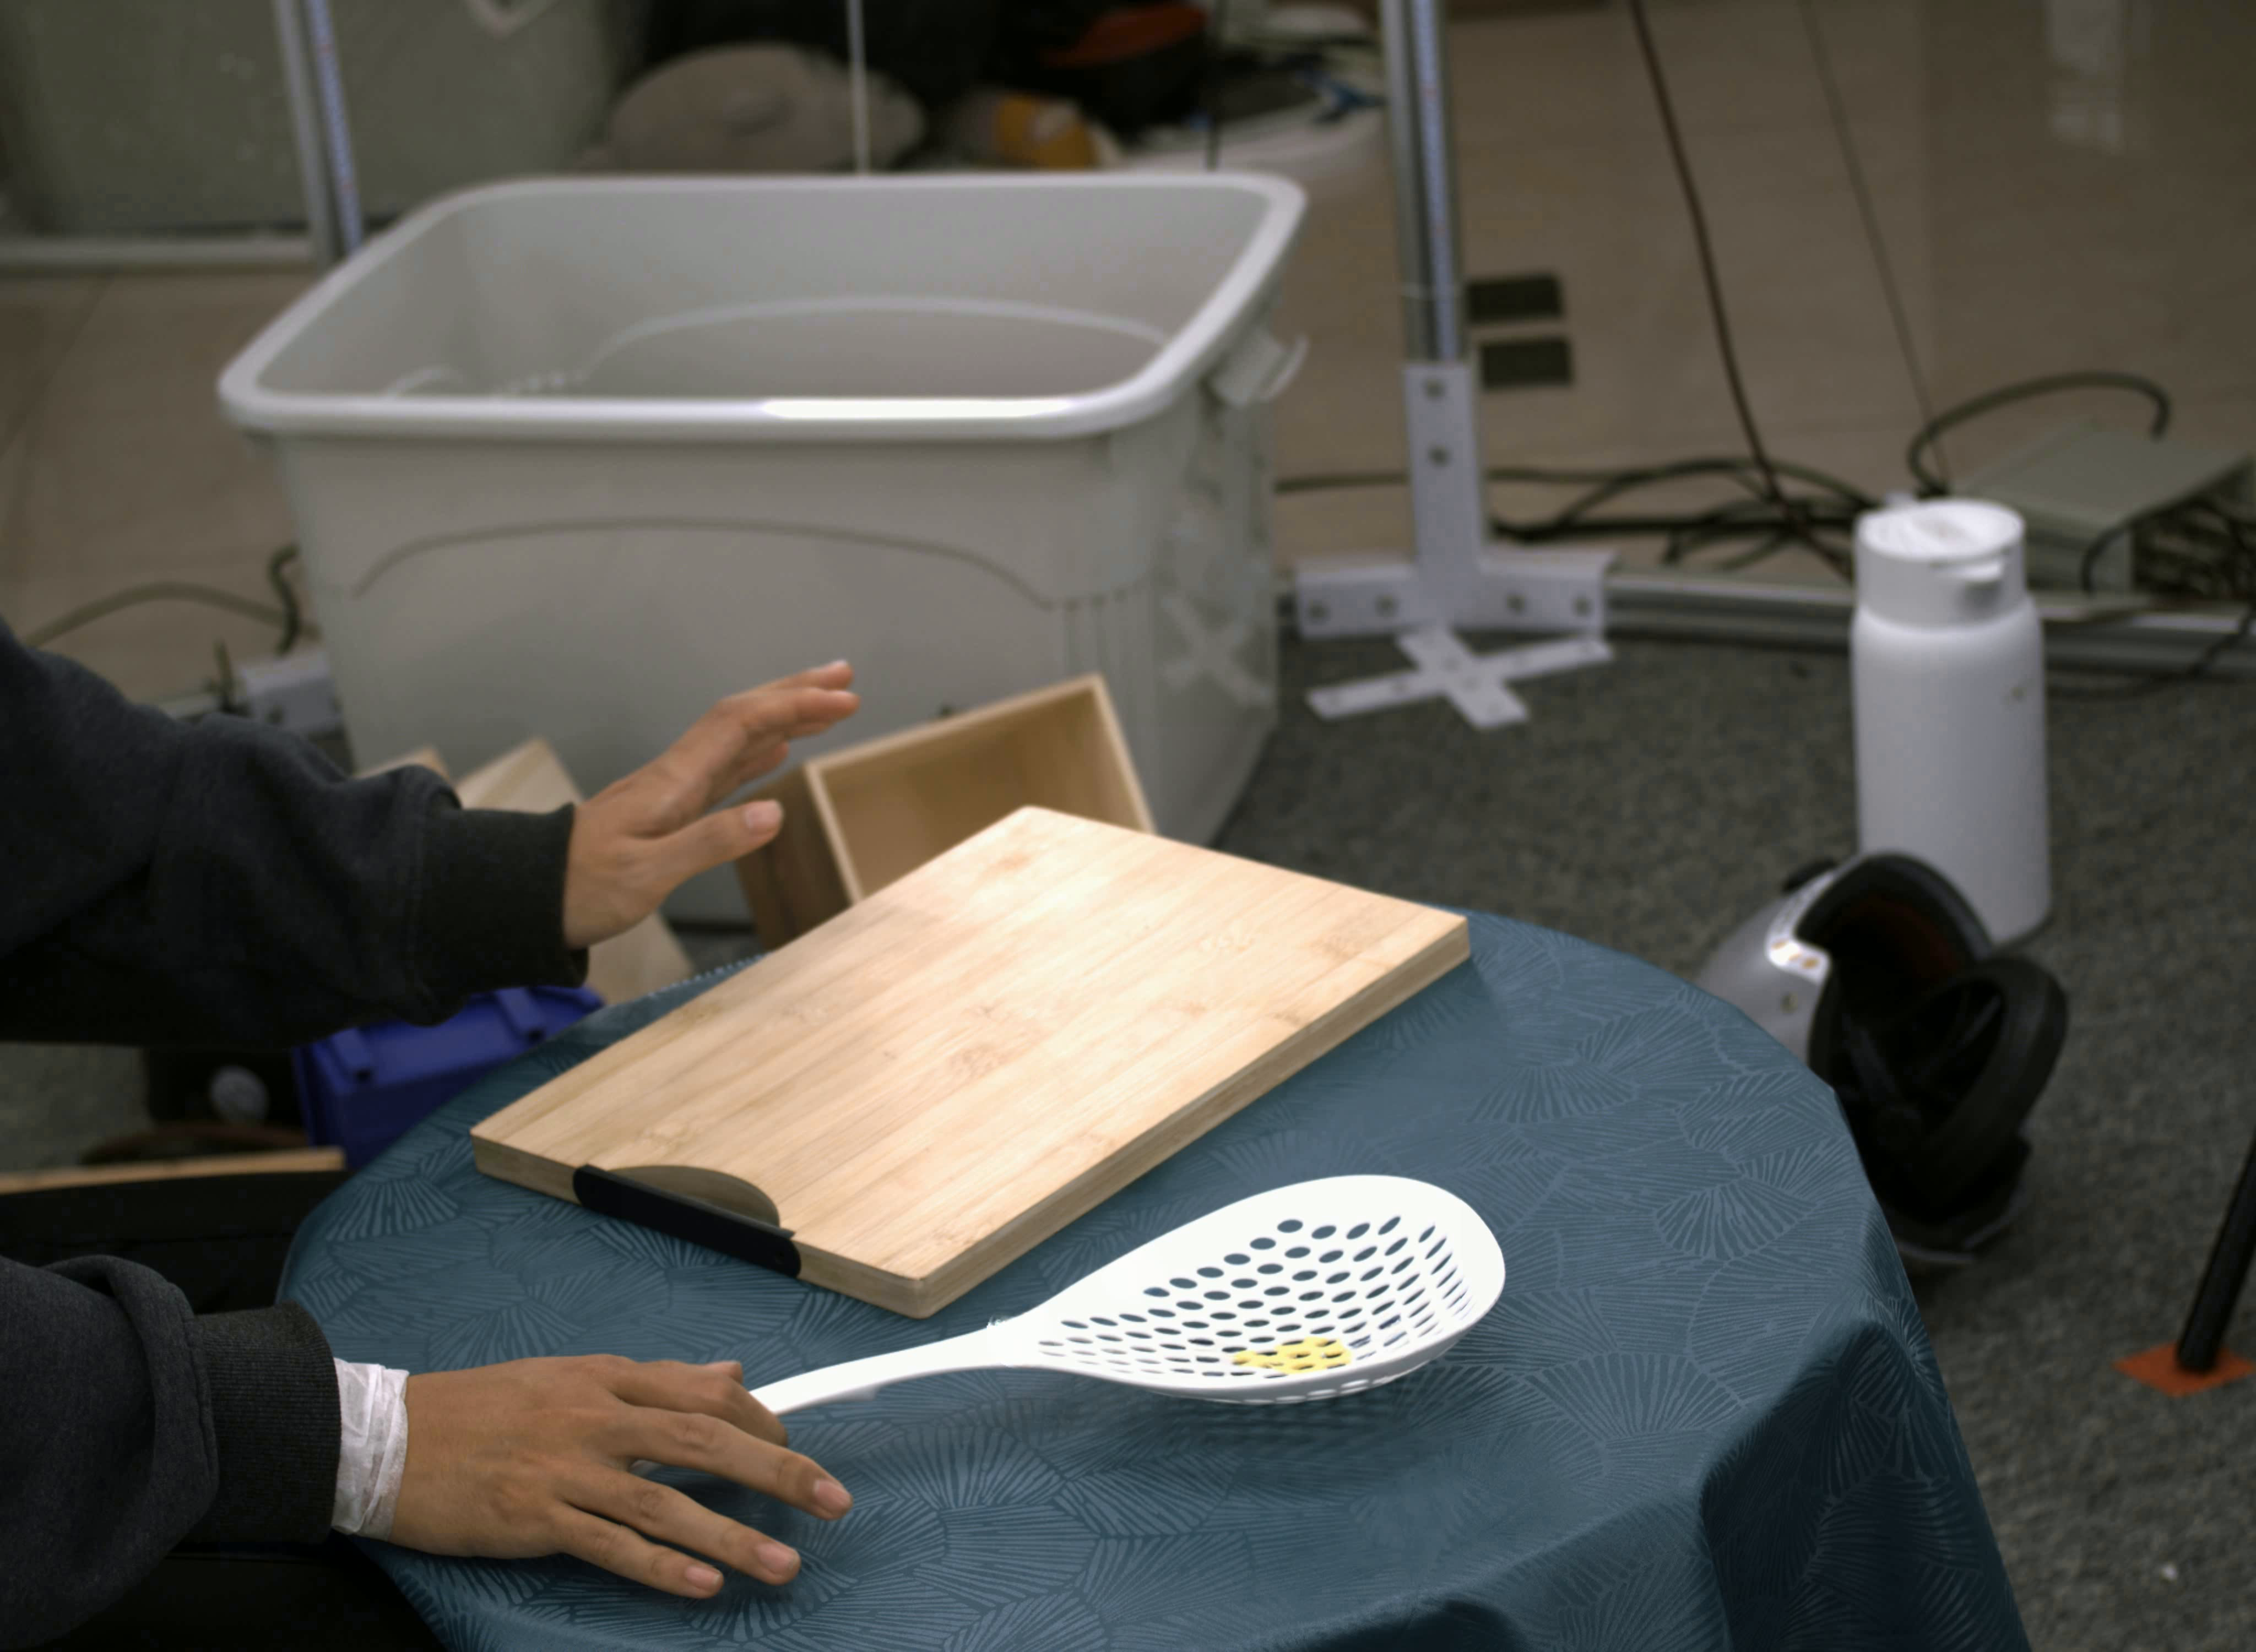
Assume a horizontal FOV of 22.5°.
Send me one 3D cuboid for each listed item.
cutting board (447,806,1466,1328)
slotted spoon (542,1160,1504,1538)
[{"bbox_3d":[-0.062,0.088,2.252,0.249,0.024,0.345,14,32,37],"label":"cutting board"},{"bbox_3d":[-0.038,0.191,1.993,0.347,0.051,0.135,-10,26,-8],"label":"slotted spoon"}]
